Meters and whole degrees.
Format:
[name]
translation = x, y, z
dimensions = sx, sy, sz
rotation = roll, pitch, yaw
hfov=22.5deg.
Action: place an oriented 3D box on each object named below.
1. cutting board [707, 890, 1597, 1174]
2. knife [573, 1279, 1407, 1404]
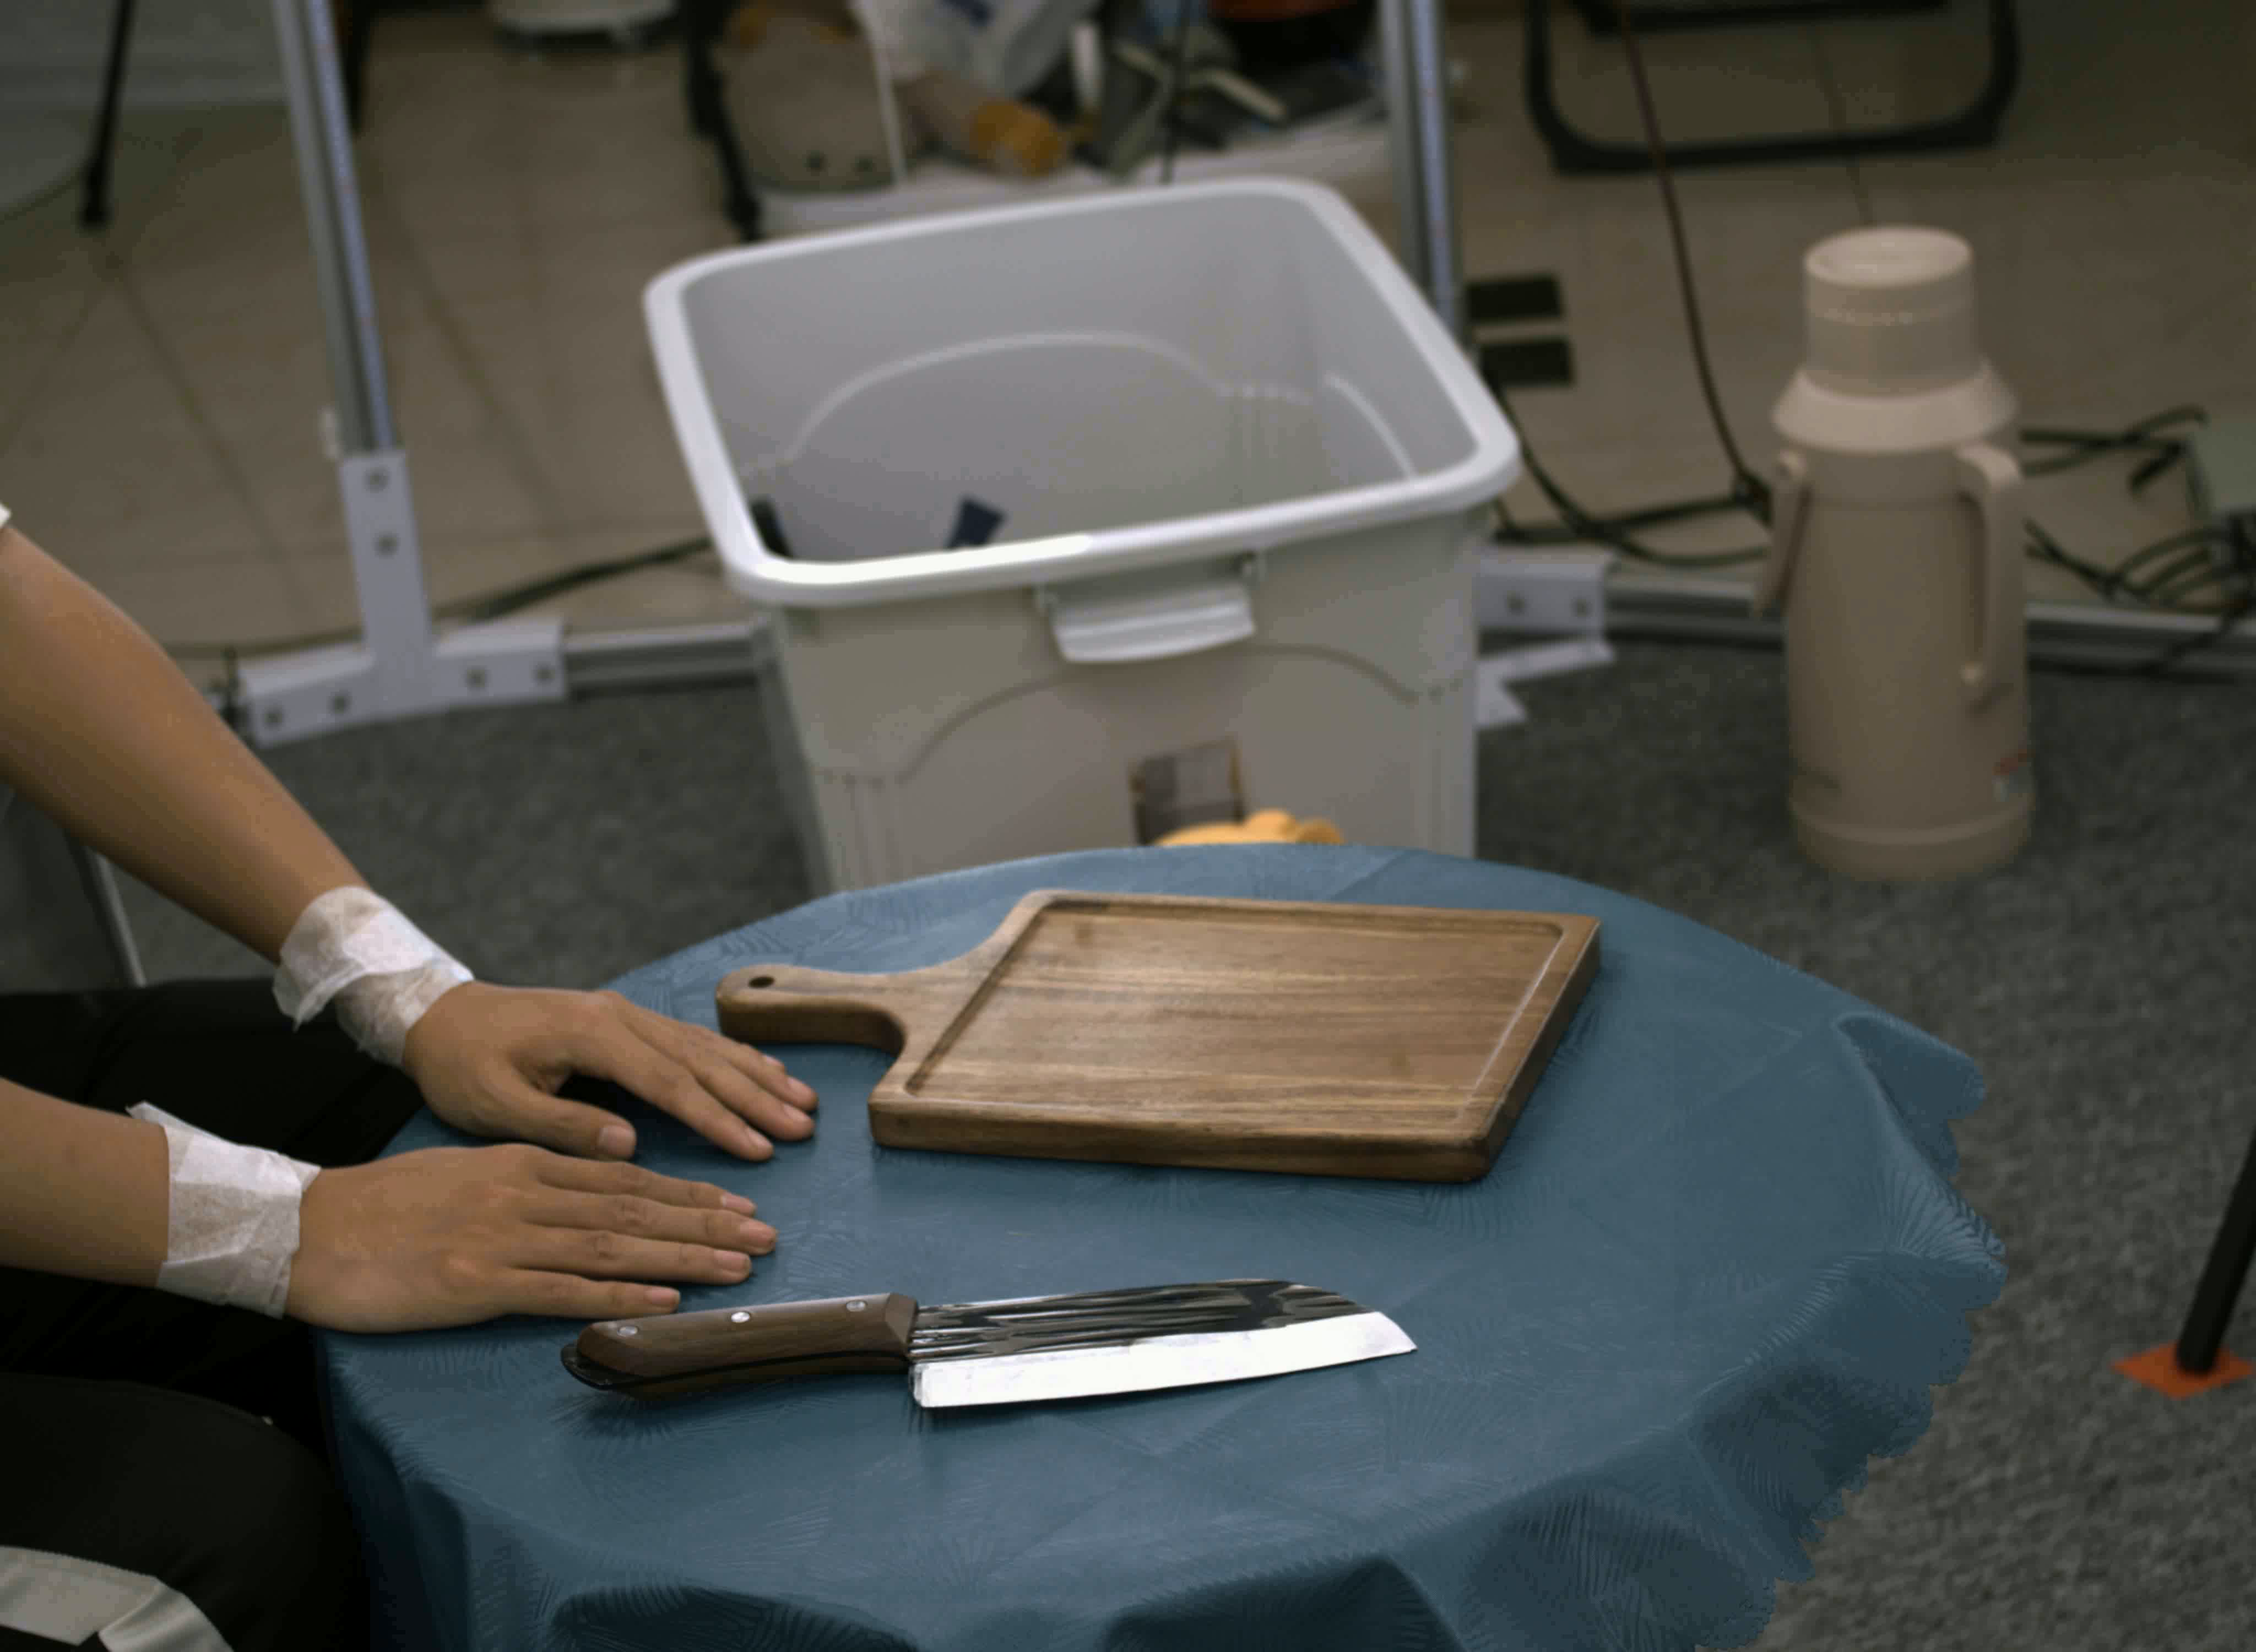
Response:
[cutting board]
translation = -0.003, 0.077, 2.259
dimensions = 0.351, 0.023, 0.198
rotation = 2, 26, 19
[knife]
translation = -0.051, 0.187, 2.037
dimensions = 0.299, 0.024, 0.067
rotation = -4, 27, -1
